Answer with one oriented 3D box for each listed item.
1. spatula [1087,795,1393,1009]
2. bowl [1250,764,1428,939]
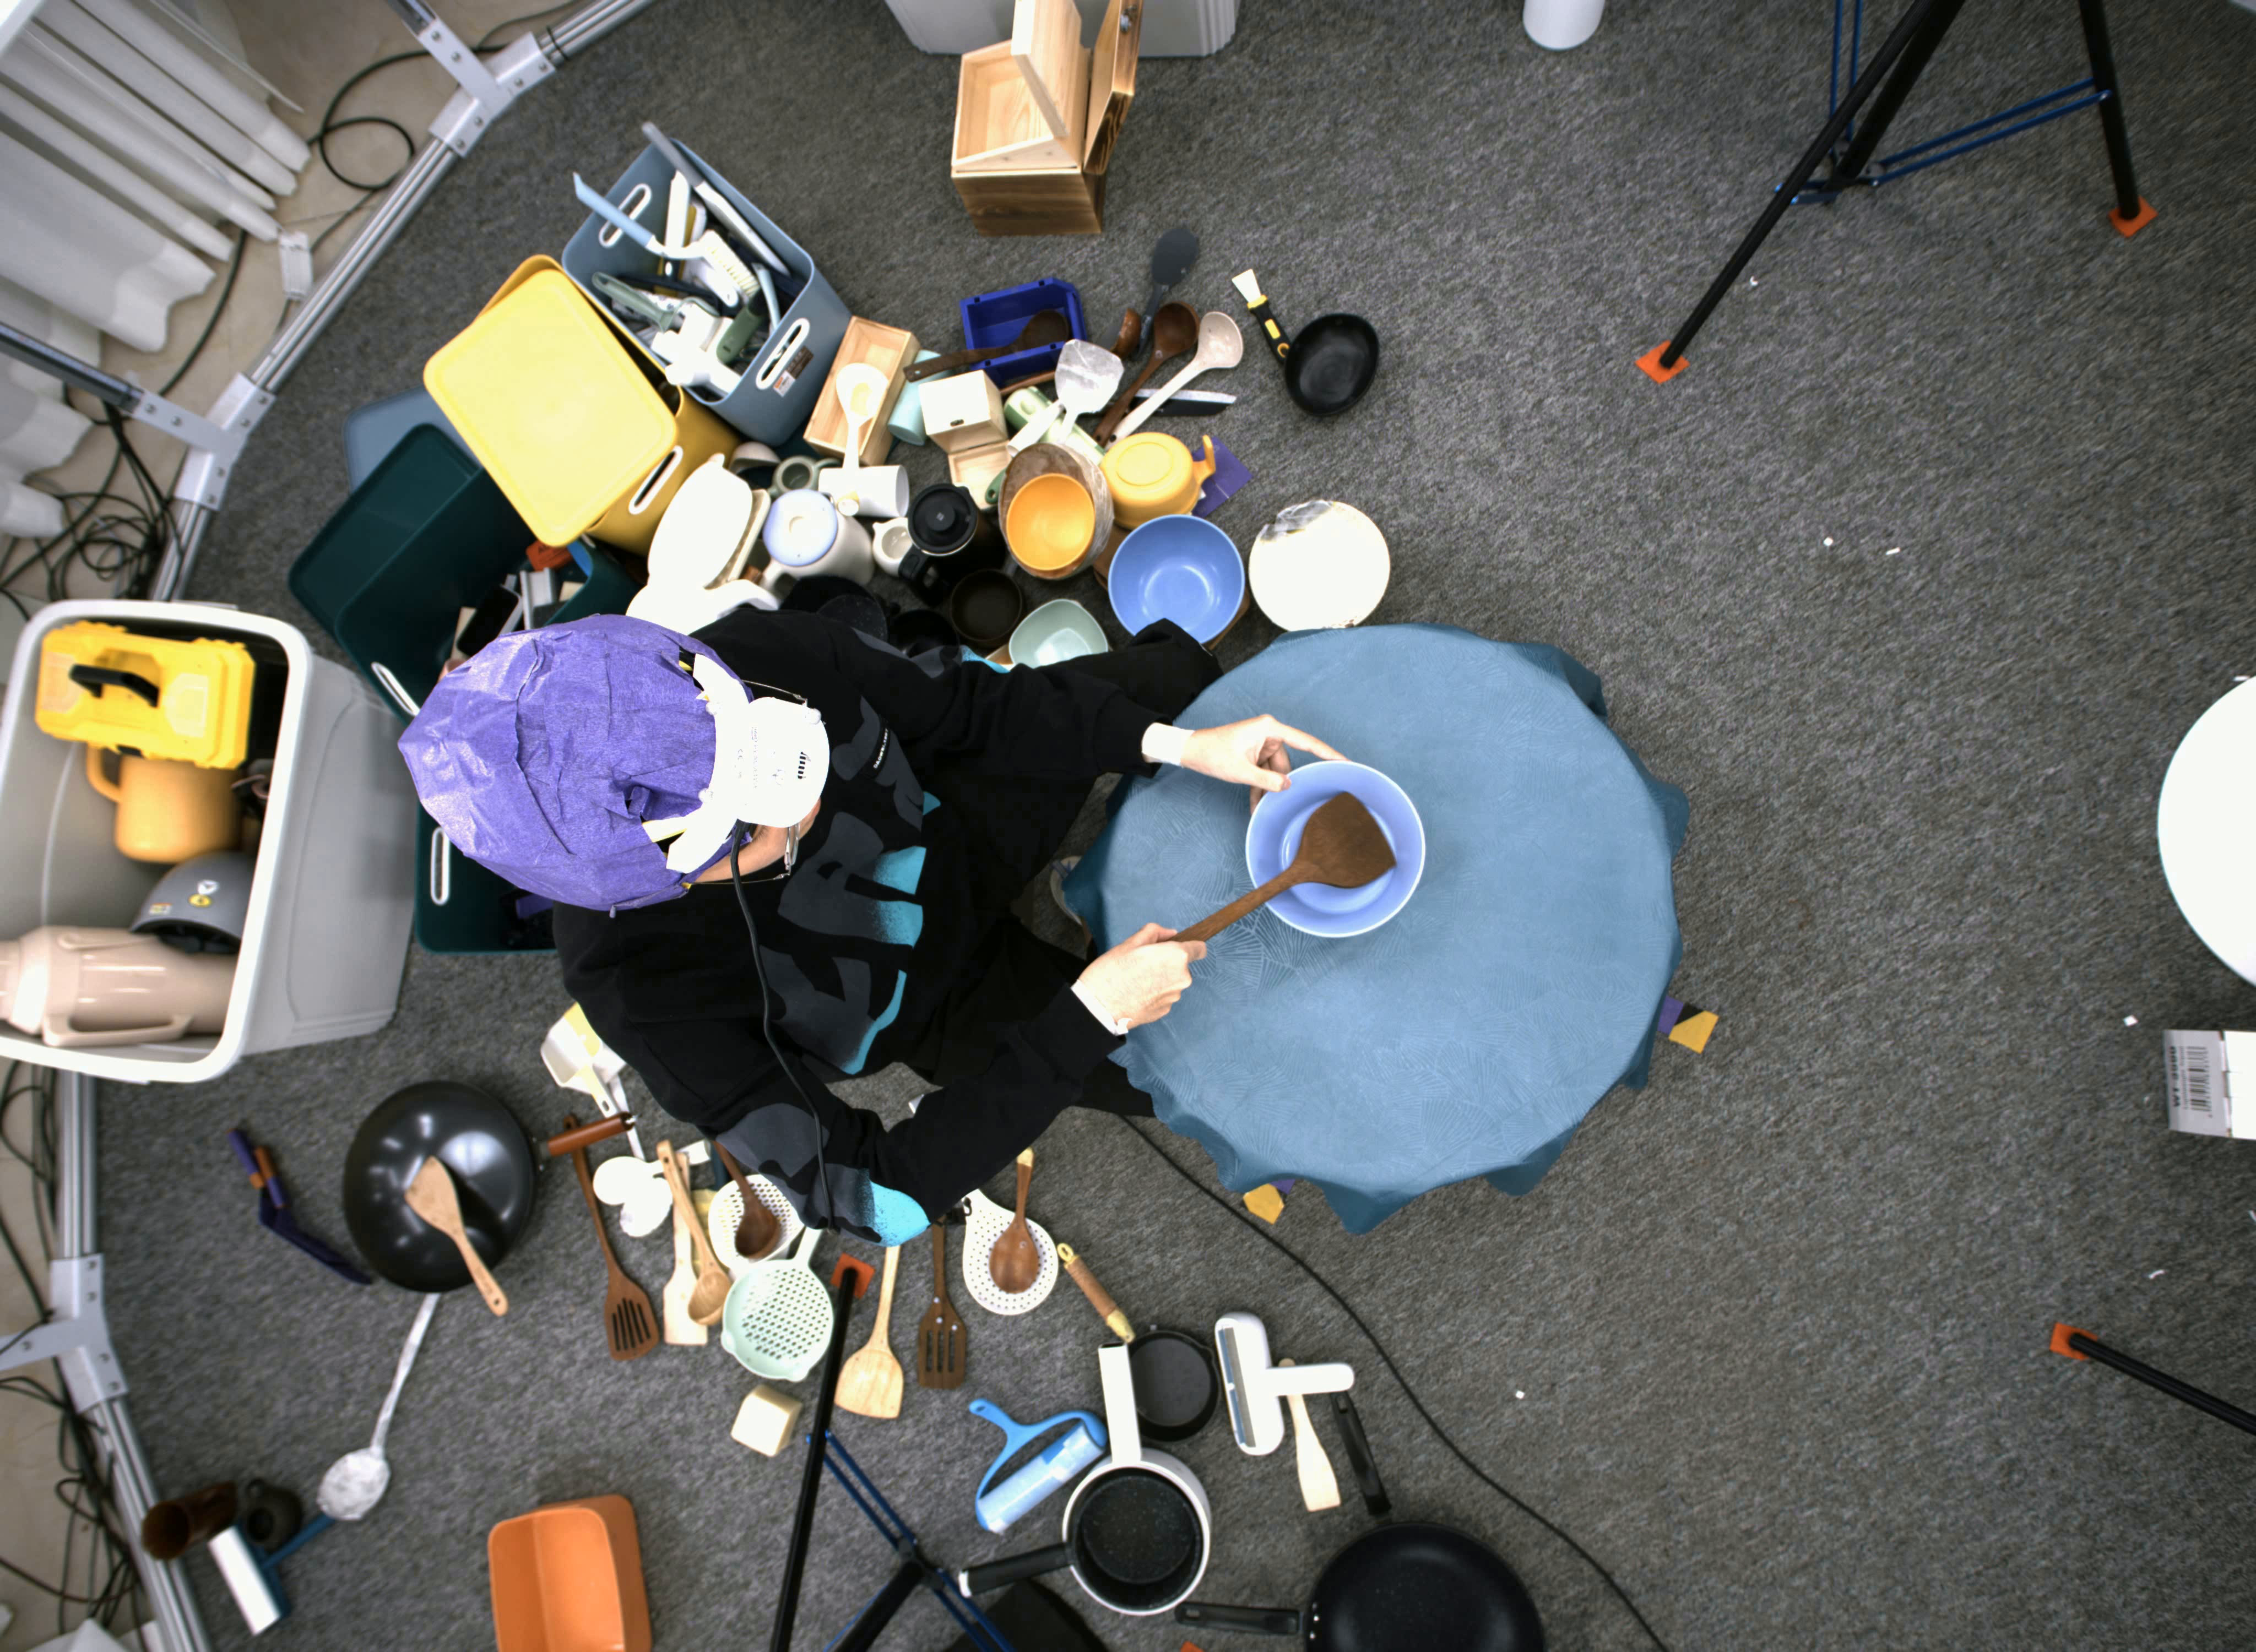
[{"bbox_3d":[0.111,0.078,1.325,0.379,0.016,0.095,-29,83,-31],"label":"spatula"},{"bbox_3d":[0.214,0.027,1.400,0.177,0.070,0.175,-1,87,11],"label":"bowl"}]
